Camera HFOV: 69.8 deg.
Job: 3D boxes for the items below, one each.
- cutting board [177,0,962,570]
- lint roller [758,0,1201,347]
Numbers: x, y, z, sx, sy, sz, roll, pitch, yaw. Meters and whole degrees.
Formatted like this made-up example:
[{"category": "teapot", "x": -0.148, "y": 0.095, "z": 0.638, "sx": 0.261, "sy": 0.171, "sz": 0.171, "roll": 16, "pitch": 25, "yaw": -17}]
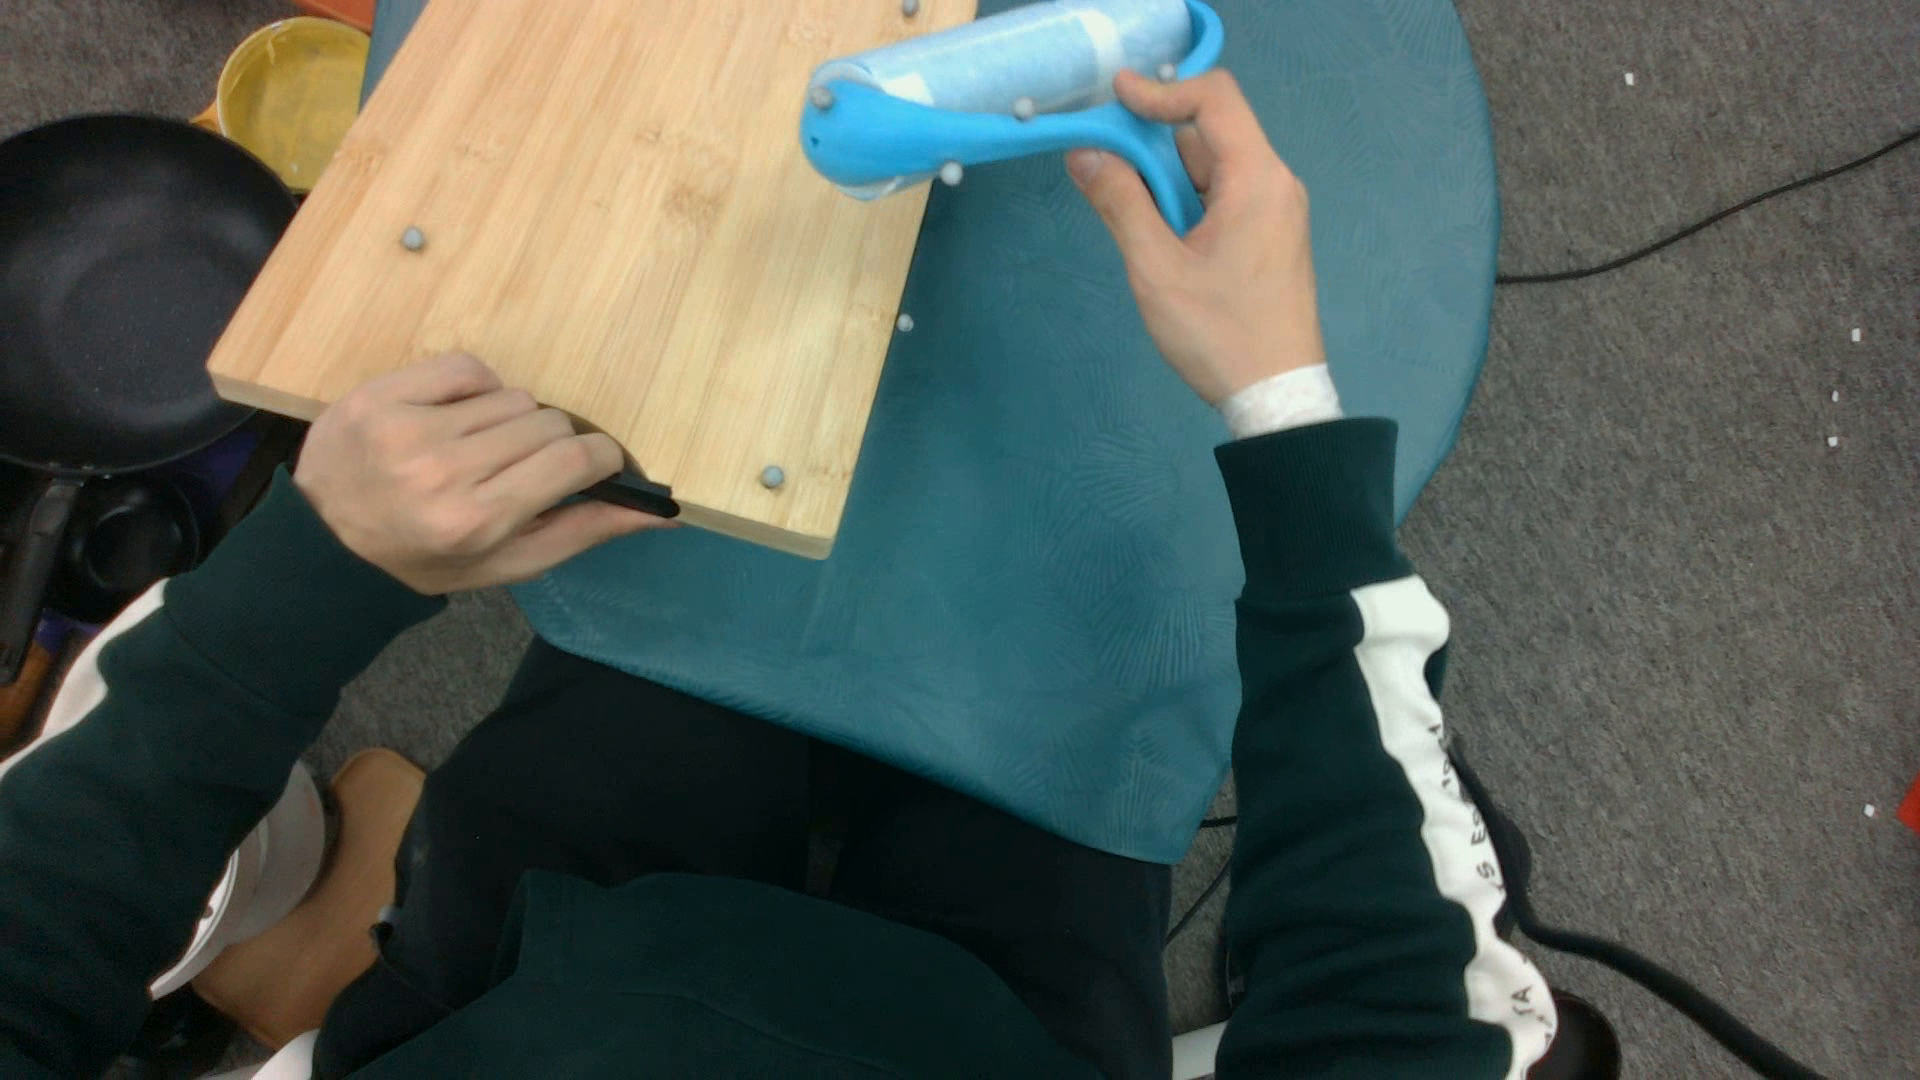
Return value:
[{"category": "cutting board", "x": -0.144, "y": -0.163, "z": 0.614, "sx": 0.251, "sy": 0.023, "sz": 0.350, "roll": 13, "pitch": 58, "yaw": -6}, {"category": "lint roller", "x": 0.046, "y": -0.164, "z": 0.573, "sx": 0.180, "sy": 0.067, "sz": 0.230, "roll": 45, "pitch": 49, "yaw": 8}]
